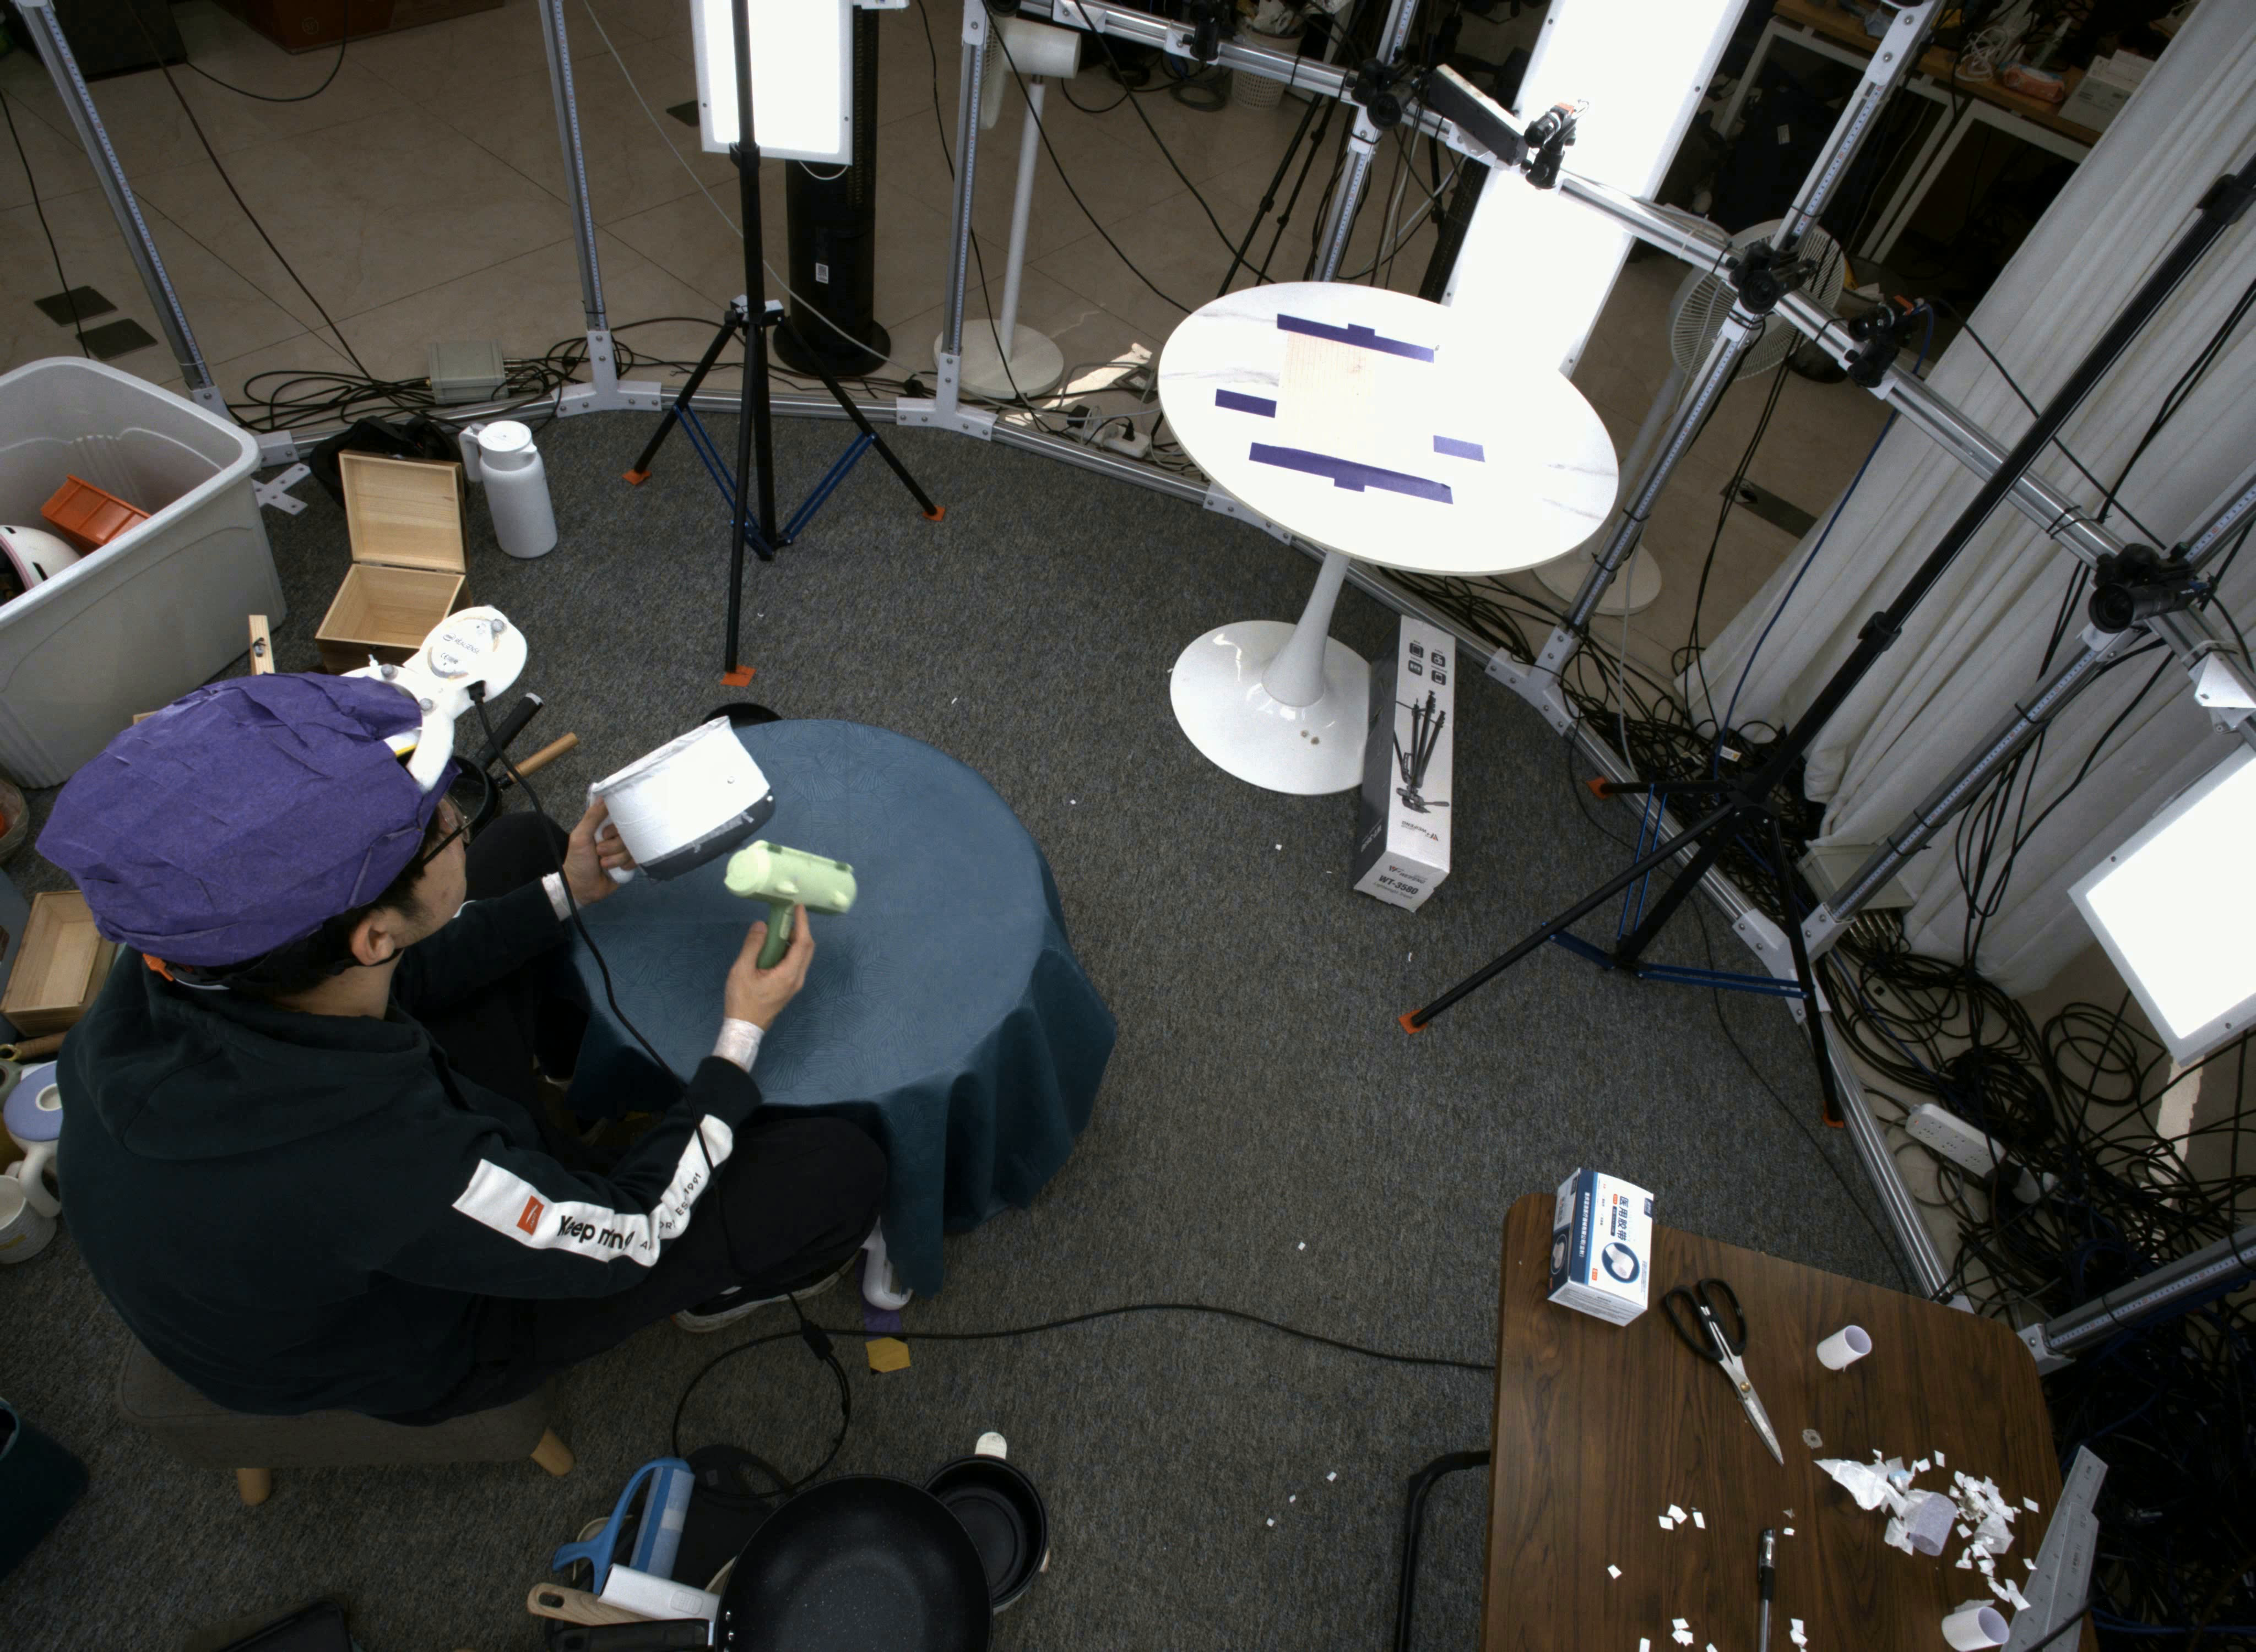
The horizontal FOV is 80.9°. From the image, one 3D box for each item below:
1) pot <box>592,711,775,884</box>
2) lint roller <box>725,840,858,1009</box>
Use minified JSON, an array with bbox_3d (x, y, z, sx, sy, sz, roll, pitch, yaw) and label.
[{"bbox_3d":[-0.539,-0.024,1.512,0.230,0.140,0.176,-23,17,12],"label":"pot"},{"bbox_3d":[-0.390,0.122,1.500,0.080,0.203,0.184,7,82,23],"label":"lint roller"}]
